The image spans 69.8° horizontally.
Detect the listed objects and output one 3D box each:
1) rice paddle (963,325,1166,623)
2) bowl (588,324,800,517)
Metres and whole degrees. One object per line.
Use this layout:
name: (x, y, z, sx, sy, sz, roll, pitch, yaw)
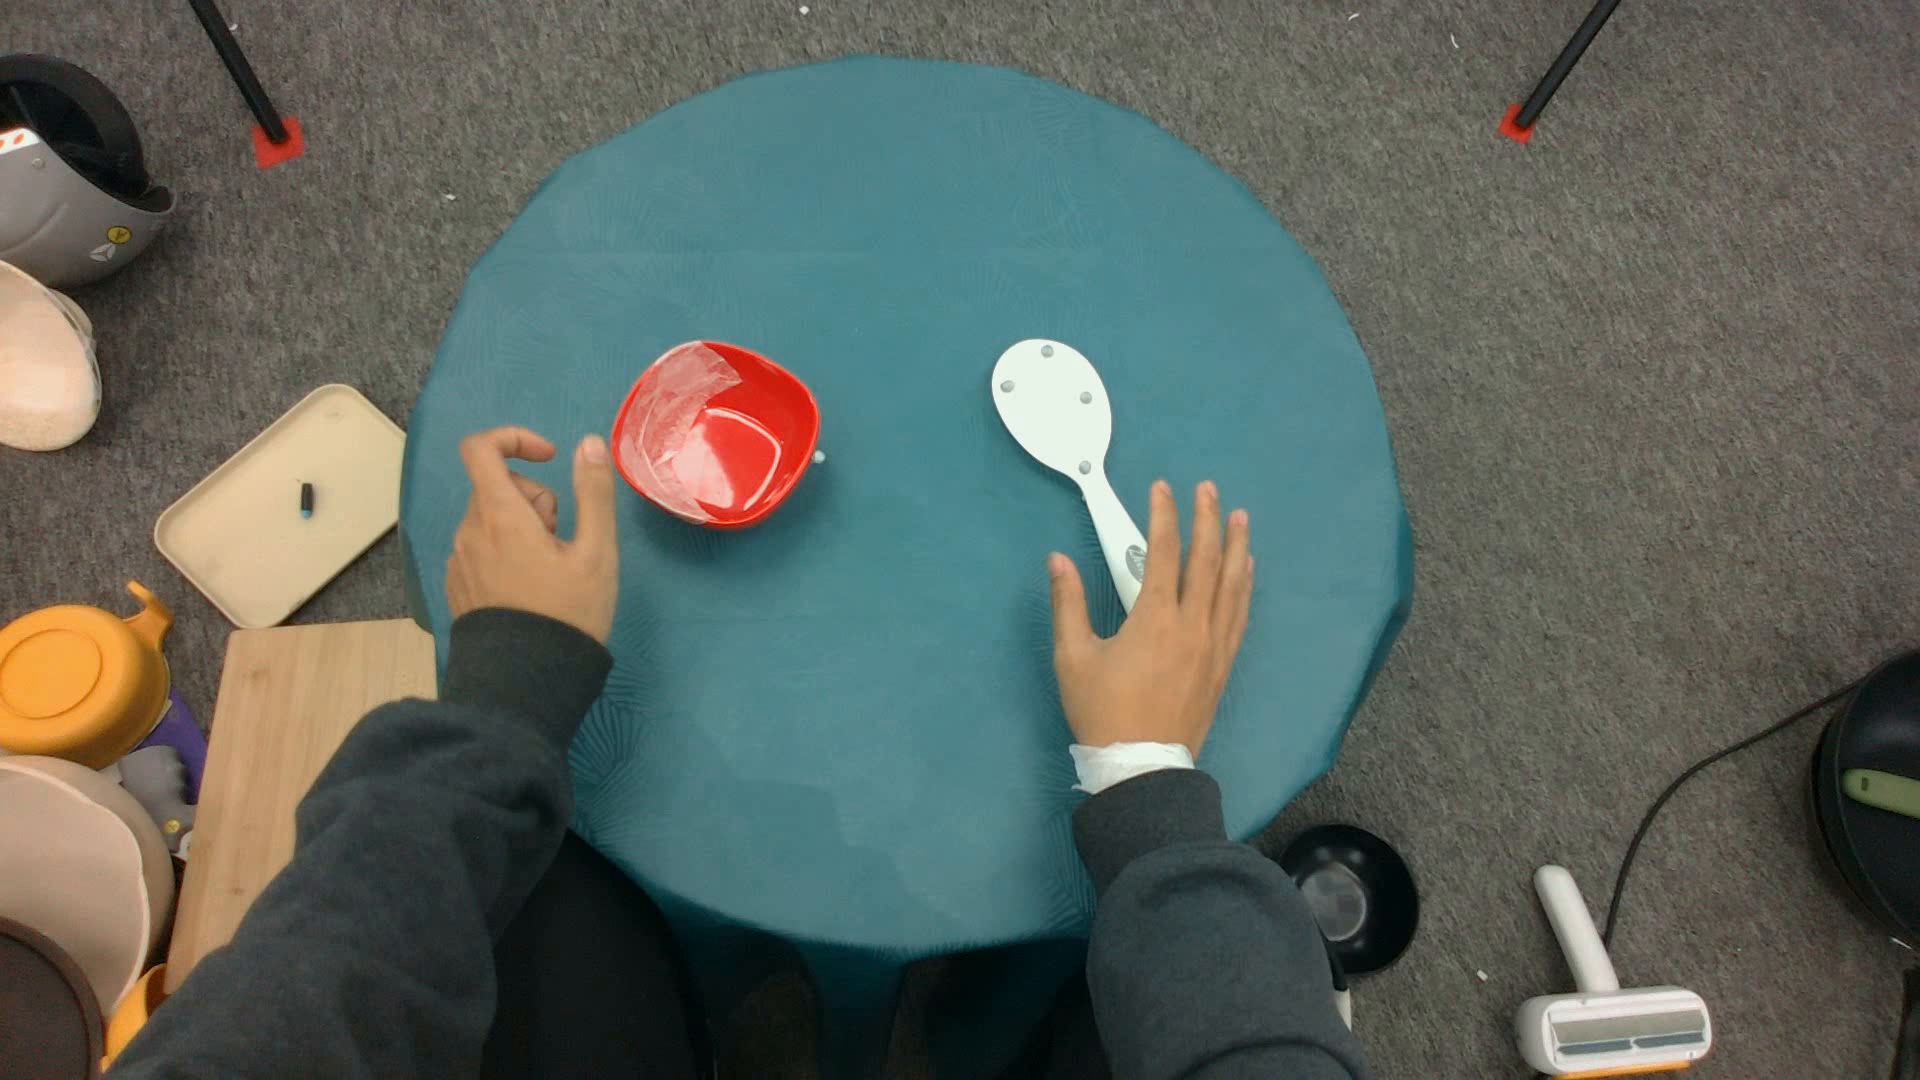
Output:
rice paddle: (0.063, -0.047, 0.828, 0.069, 0.029, 0.205, -21, 72, -15)
bowl: (-0.152, -0.062, 0.795, 0.119, 0.051, 0.119, 3, 69, -7)
